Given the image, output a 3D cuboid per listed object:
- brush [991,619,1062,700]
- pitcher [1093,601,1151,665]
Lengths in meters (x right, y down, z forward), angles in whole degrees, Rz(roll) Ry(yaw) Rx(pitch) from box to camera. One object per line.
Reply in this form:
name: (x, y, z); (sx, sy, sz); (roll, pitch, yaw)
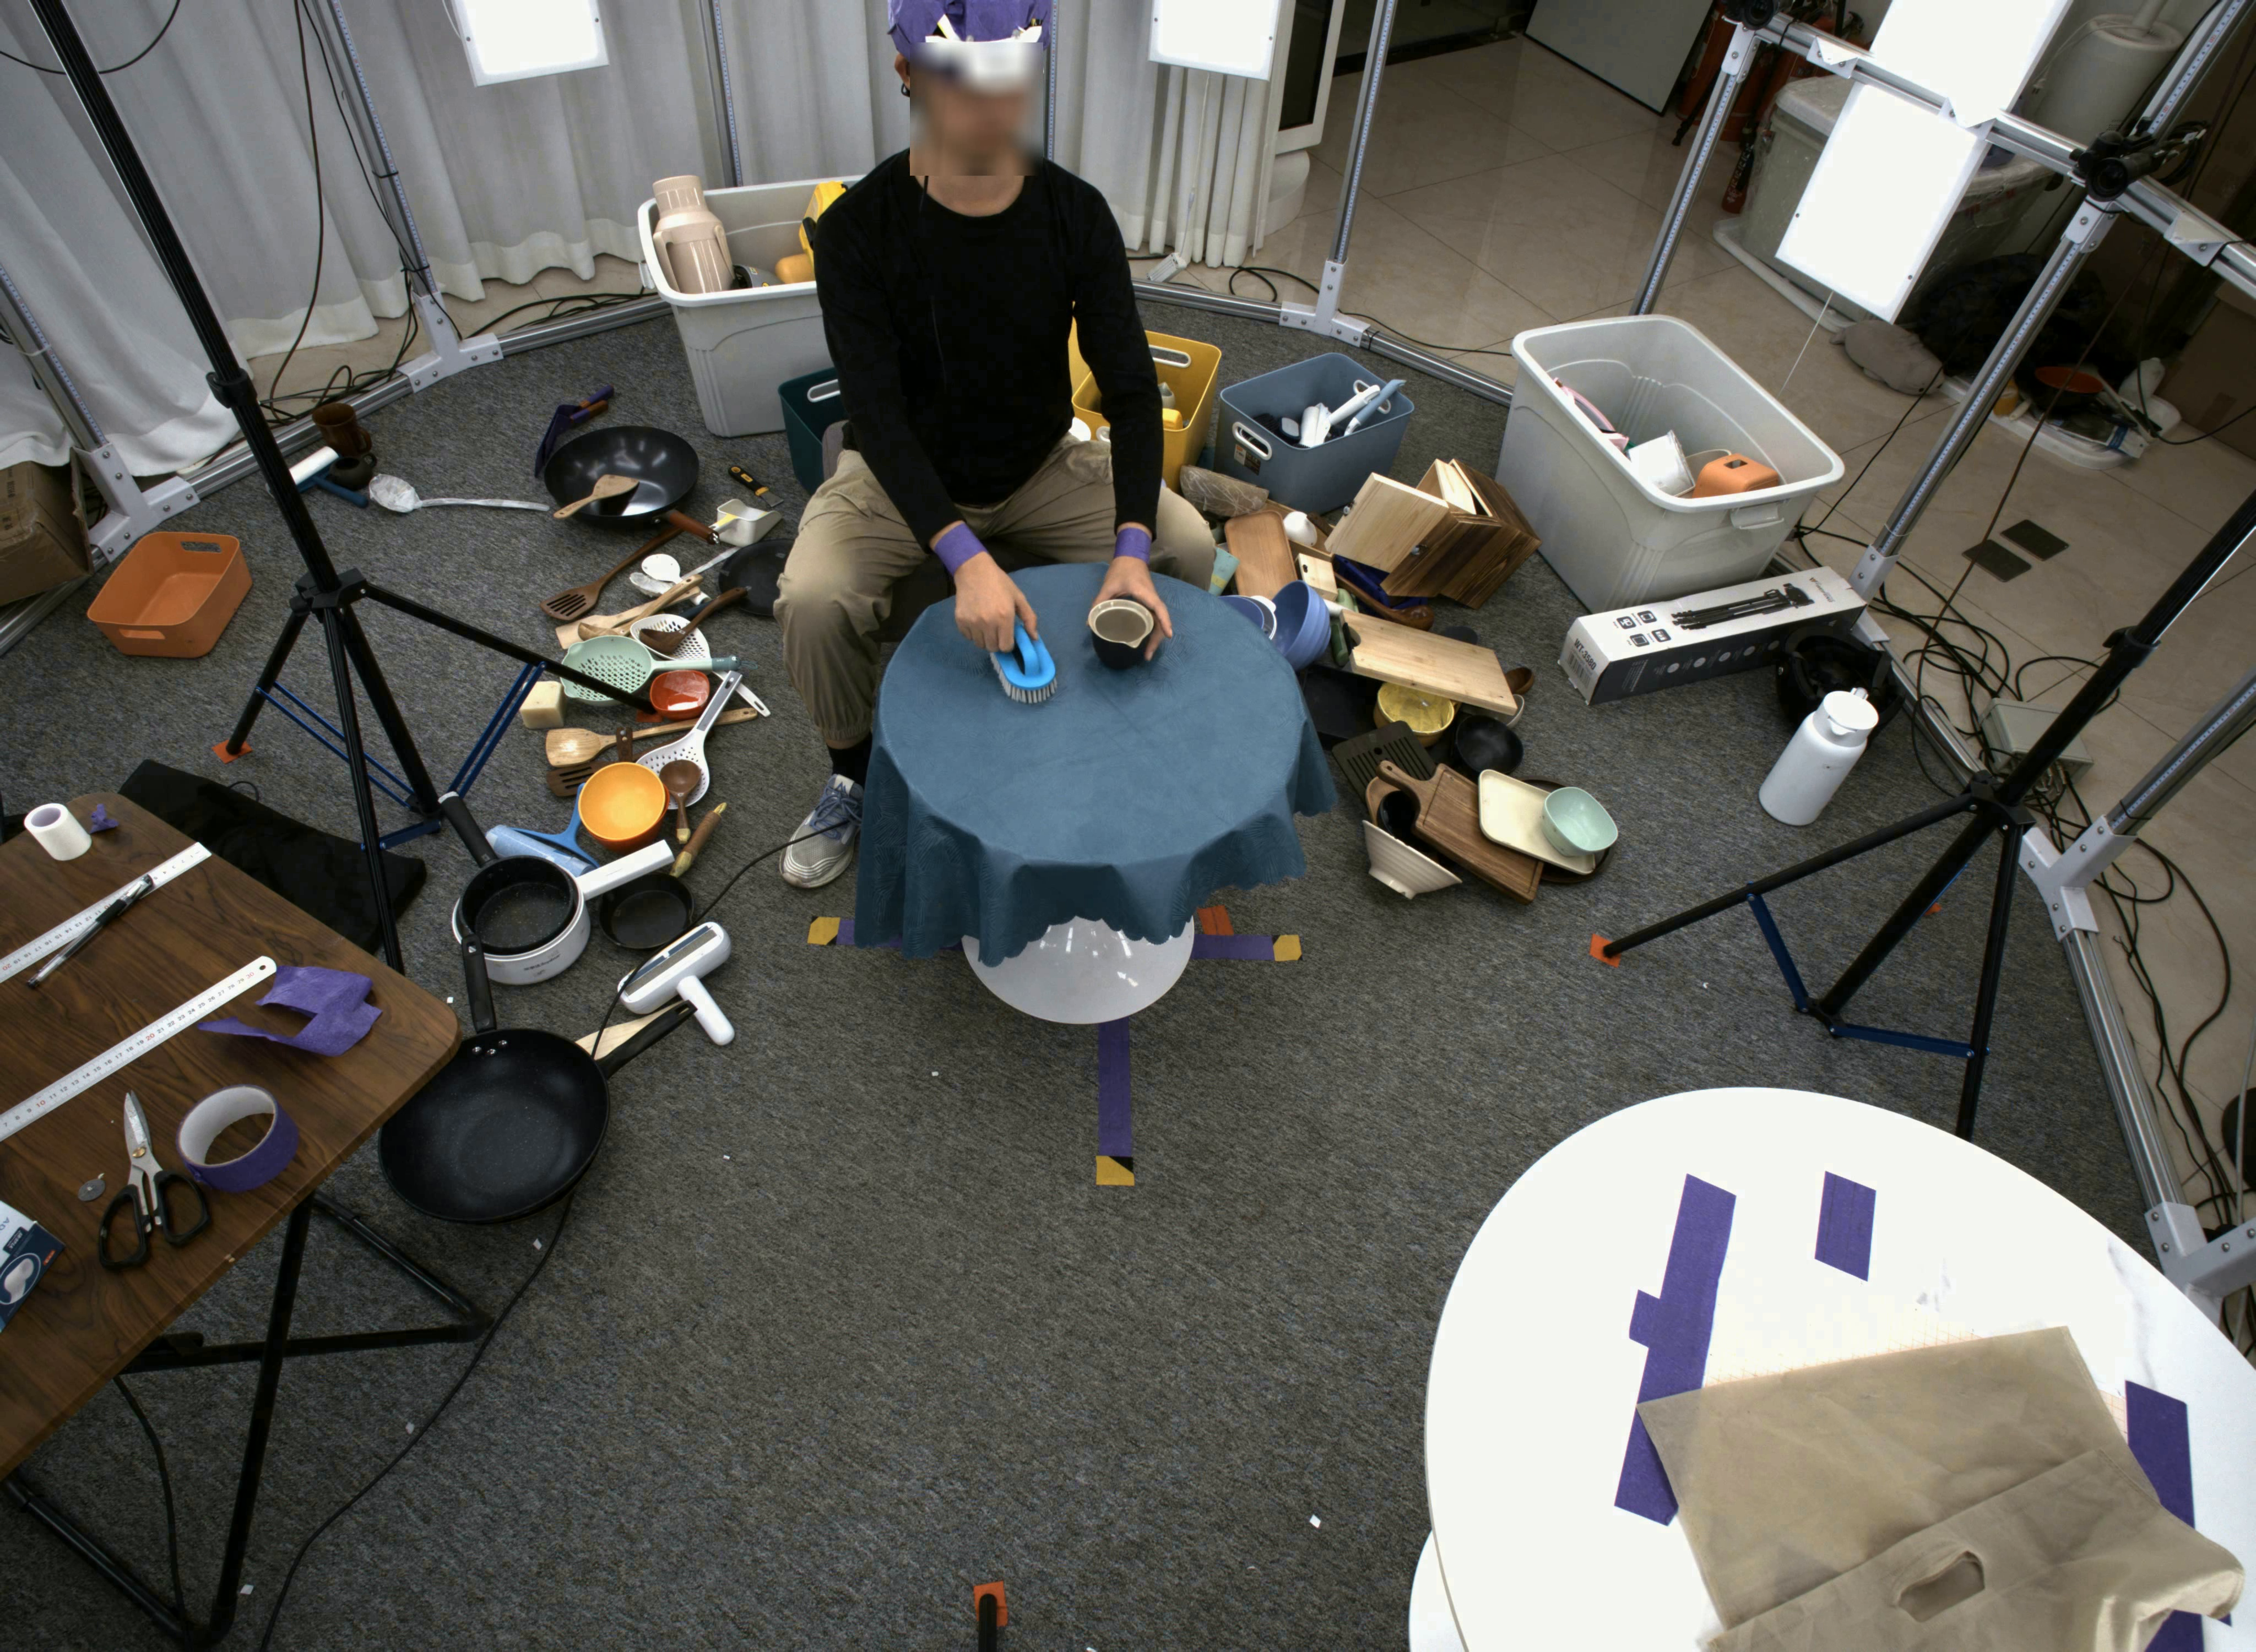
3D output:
brush: (-0.147, -0.247, 1.828); (0.084, 0.062, 0.145); (-16, 51, -12)
pitcher: (-0.008, -0.271, 1.853); (0.083, 0.069, 0.098); (-9, 52, -13)
